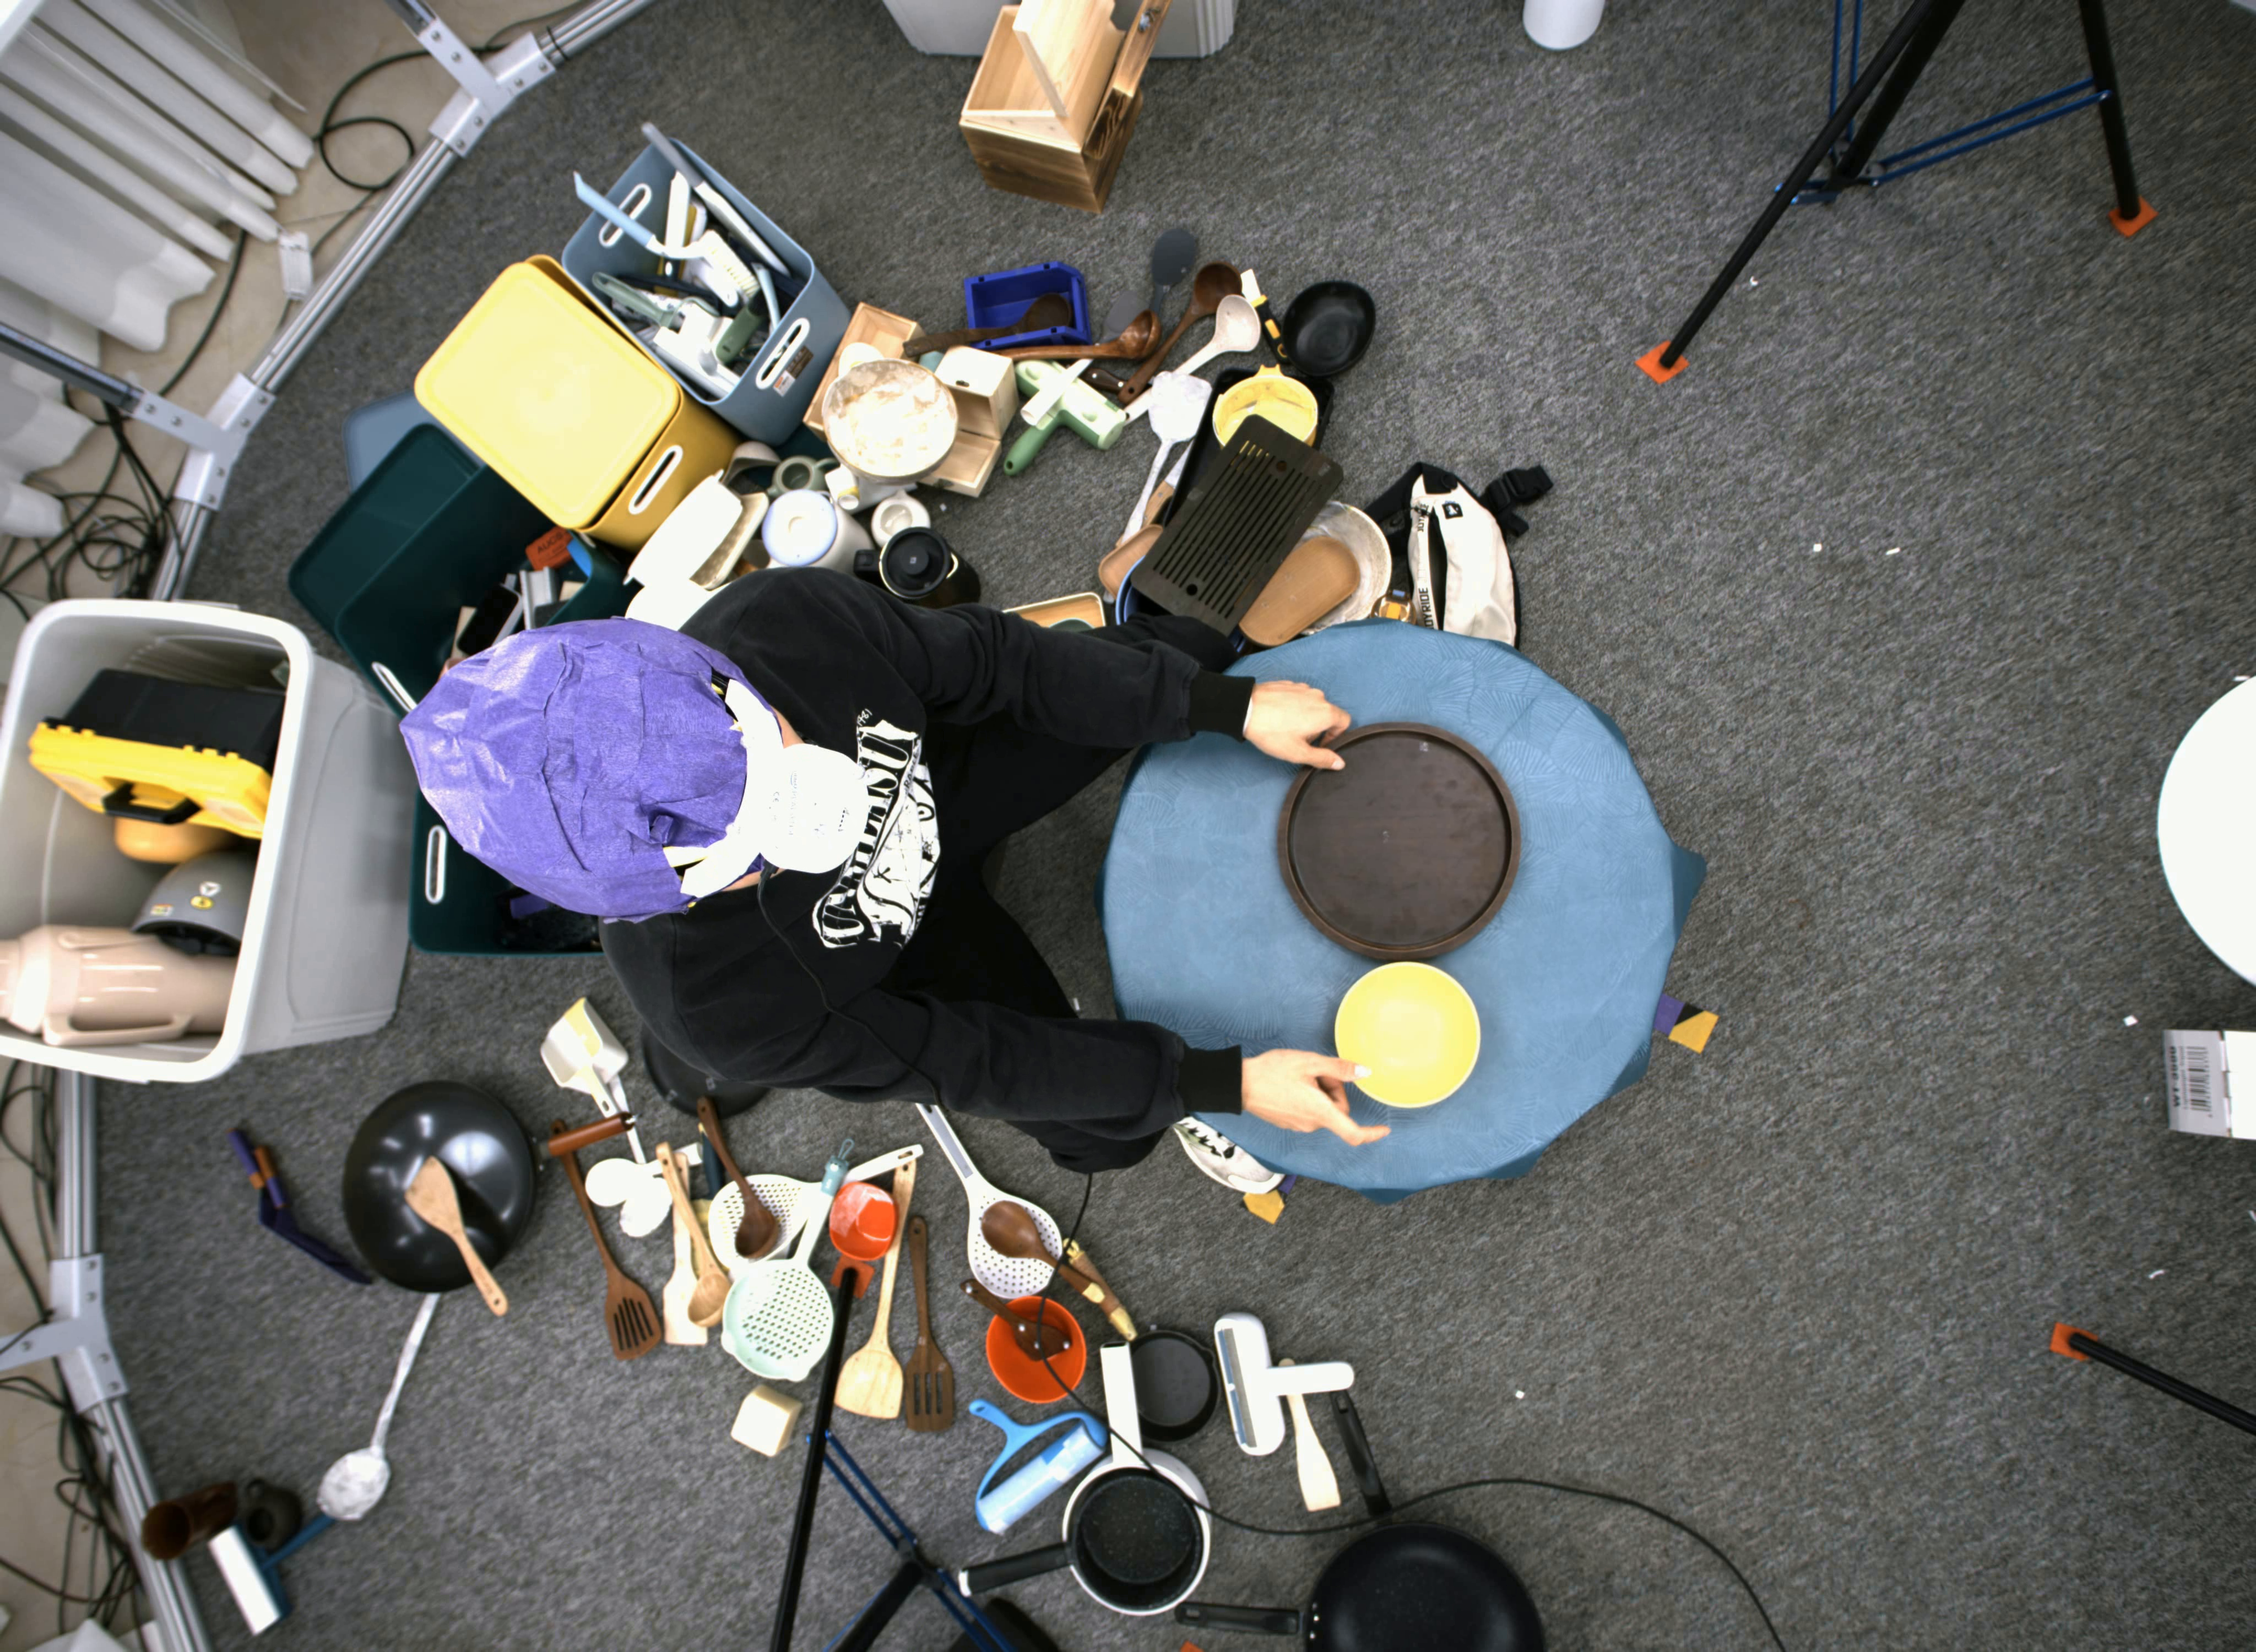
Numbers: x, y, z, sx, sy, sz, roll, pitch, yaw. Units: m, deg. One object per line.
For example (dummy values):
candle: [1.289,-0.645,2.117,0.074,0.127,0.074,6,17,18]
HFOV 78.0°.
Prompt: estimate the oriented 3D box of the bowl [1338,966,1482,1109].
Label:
bowl: [0.290,0.216,1.423,0.146,0.060,0.144,-2,83,12]

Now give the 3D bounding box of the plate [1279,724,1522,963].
plate: [0.286,0.017,1.454,0.256,0.029,0.254,-1,88,11]
